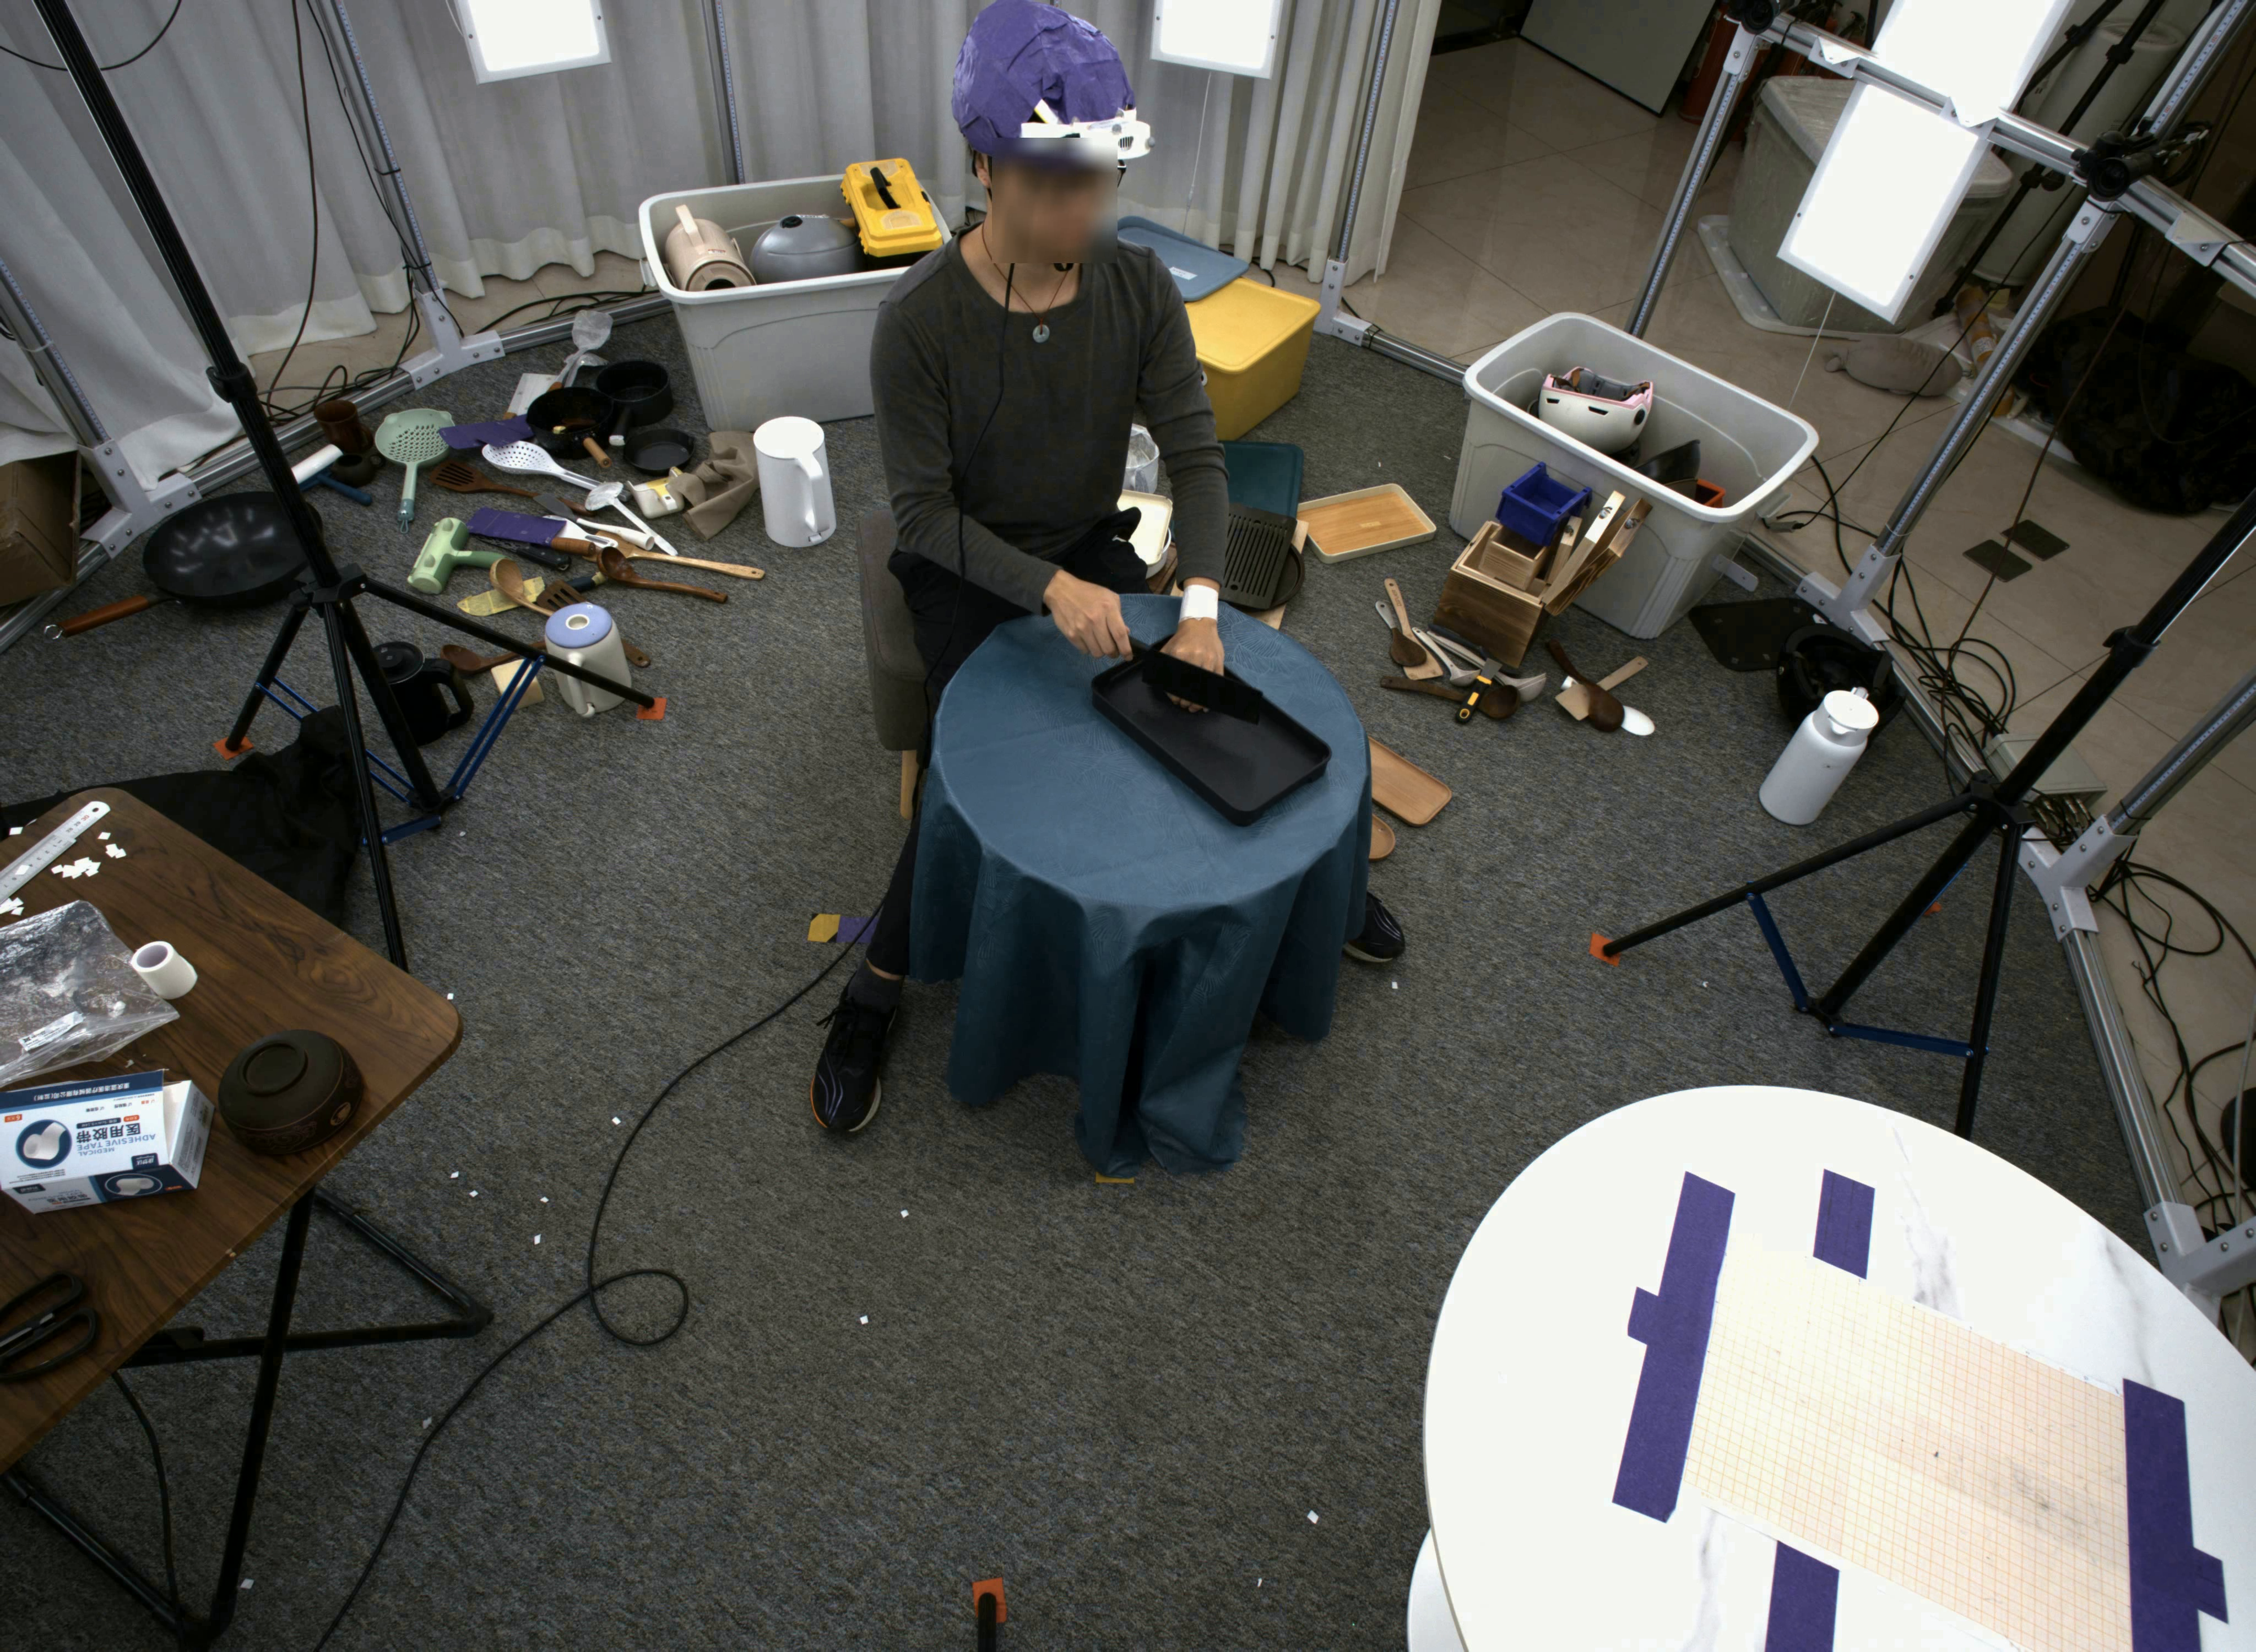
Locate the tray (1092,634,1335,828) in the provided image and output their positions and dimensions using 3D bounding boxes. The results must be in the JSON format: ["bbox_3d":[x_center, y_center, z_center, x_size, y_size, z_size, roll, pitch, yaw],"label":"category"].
[{"bbox_3d":[0.114,-0.137,1.770,0.186,0.036,0.323,-34,59,-29],"label":"tray"}]

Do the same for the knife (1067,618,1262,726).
[{"bbox_3d":[0.048,-0.216,1.765,0.305,0.079,0.021,27,49,16],"label":"knife"}]
